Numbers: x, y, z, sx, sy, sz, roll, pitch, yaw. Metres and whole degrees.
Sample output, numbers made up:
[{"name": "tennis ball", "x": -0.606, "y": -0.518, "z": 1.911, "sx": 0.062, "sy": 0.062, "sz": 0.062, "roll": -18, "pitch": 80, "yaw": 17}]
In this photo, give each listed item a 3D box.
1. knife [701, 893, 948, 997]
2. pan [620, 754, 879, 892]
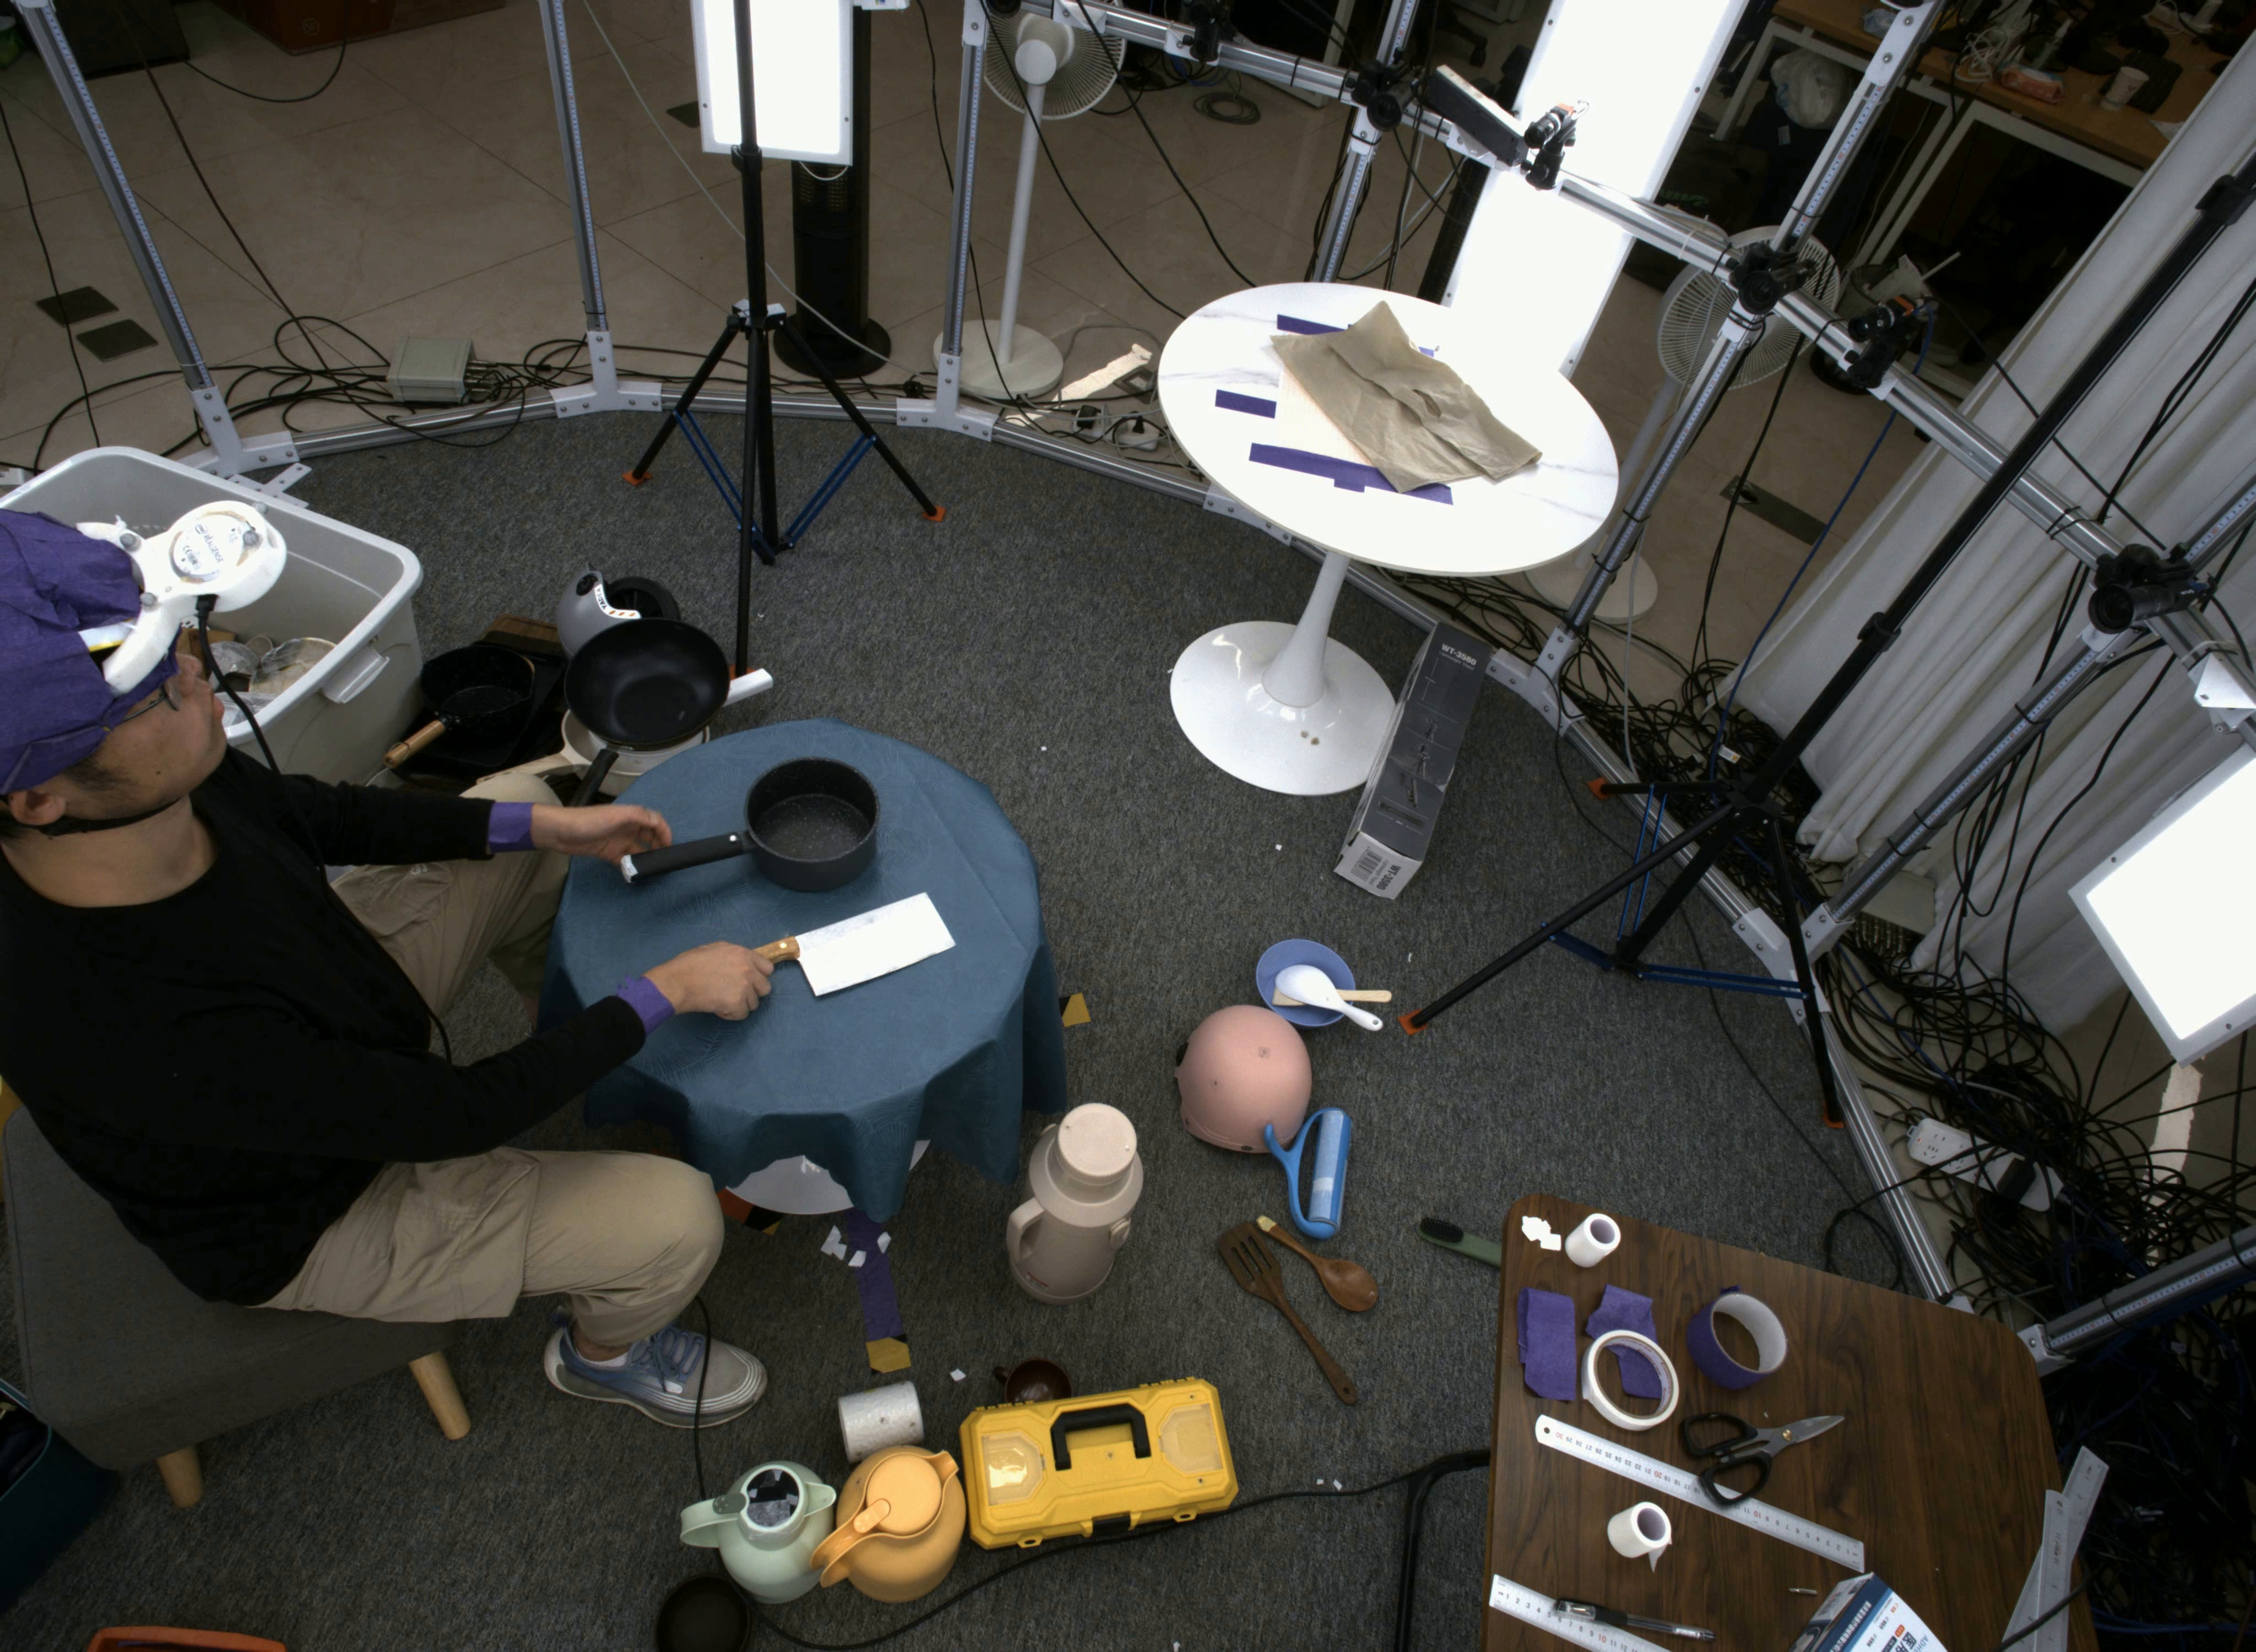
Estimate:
[{"name": "knife", "x": -0.368, "y": 0.160, "z": 1.606, "sx": 0.308, "sy": 0.021, "sz": 0.090, "roll": -20, "pitch": 62, "yaw": -29}, {"name": "pan", "x": -0.476, "y": 0.019, "z": 1.641, "sx": 0.330, "sy": 0.088, "sz": 0.167, "roll": -18, "pitch": 59, "yaw": -26}]
